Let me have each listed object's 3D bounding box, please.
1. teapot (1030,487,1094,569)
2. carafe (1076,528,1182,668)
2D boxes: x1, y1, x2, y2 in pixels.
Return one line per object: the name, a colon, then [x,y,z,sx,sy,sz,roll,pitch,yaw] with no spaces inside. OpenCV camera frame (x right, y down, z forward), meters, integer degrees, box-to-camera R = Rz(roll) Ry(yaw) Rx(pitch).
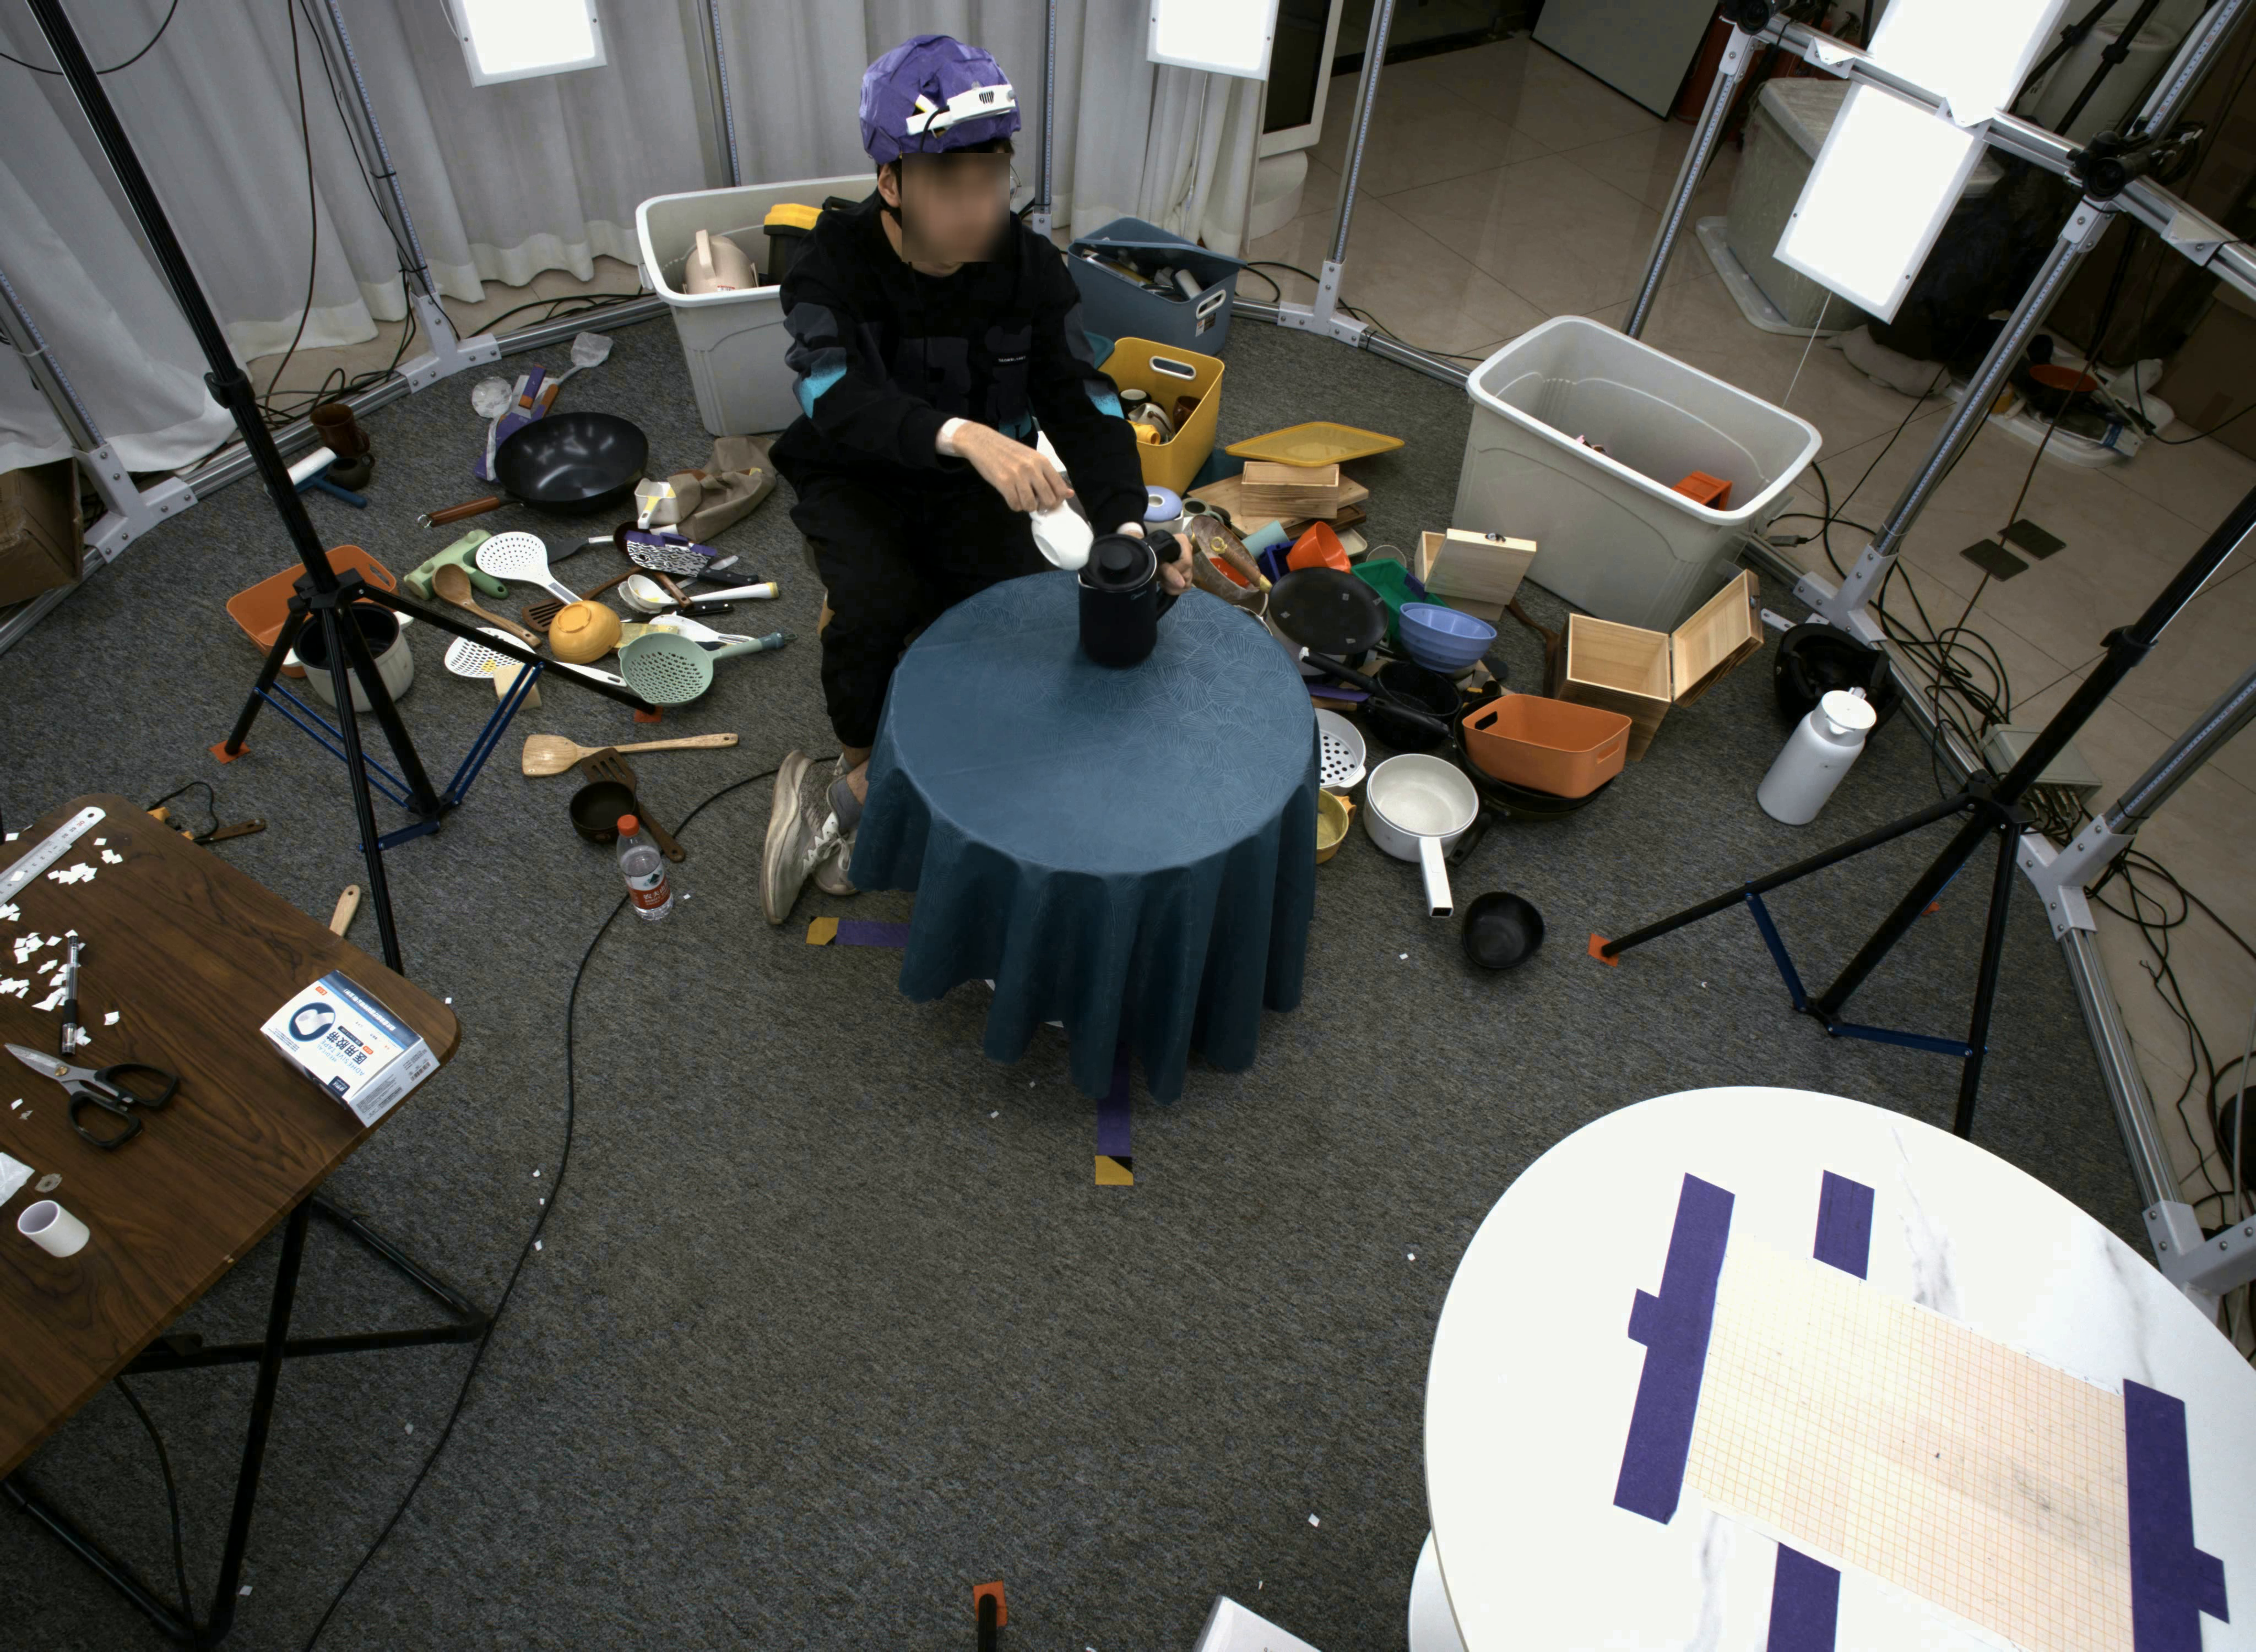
teapot: [-0.090,-0.386,1.675,0.057,0.124,0.095,-41,52,-13]
carafe: [0.002,-0.335,1.826,0.172,0.169,0.116,-35,61,-18]
